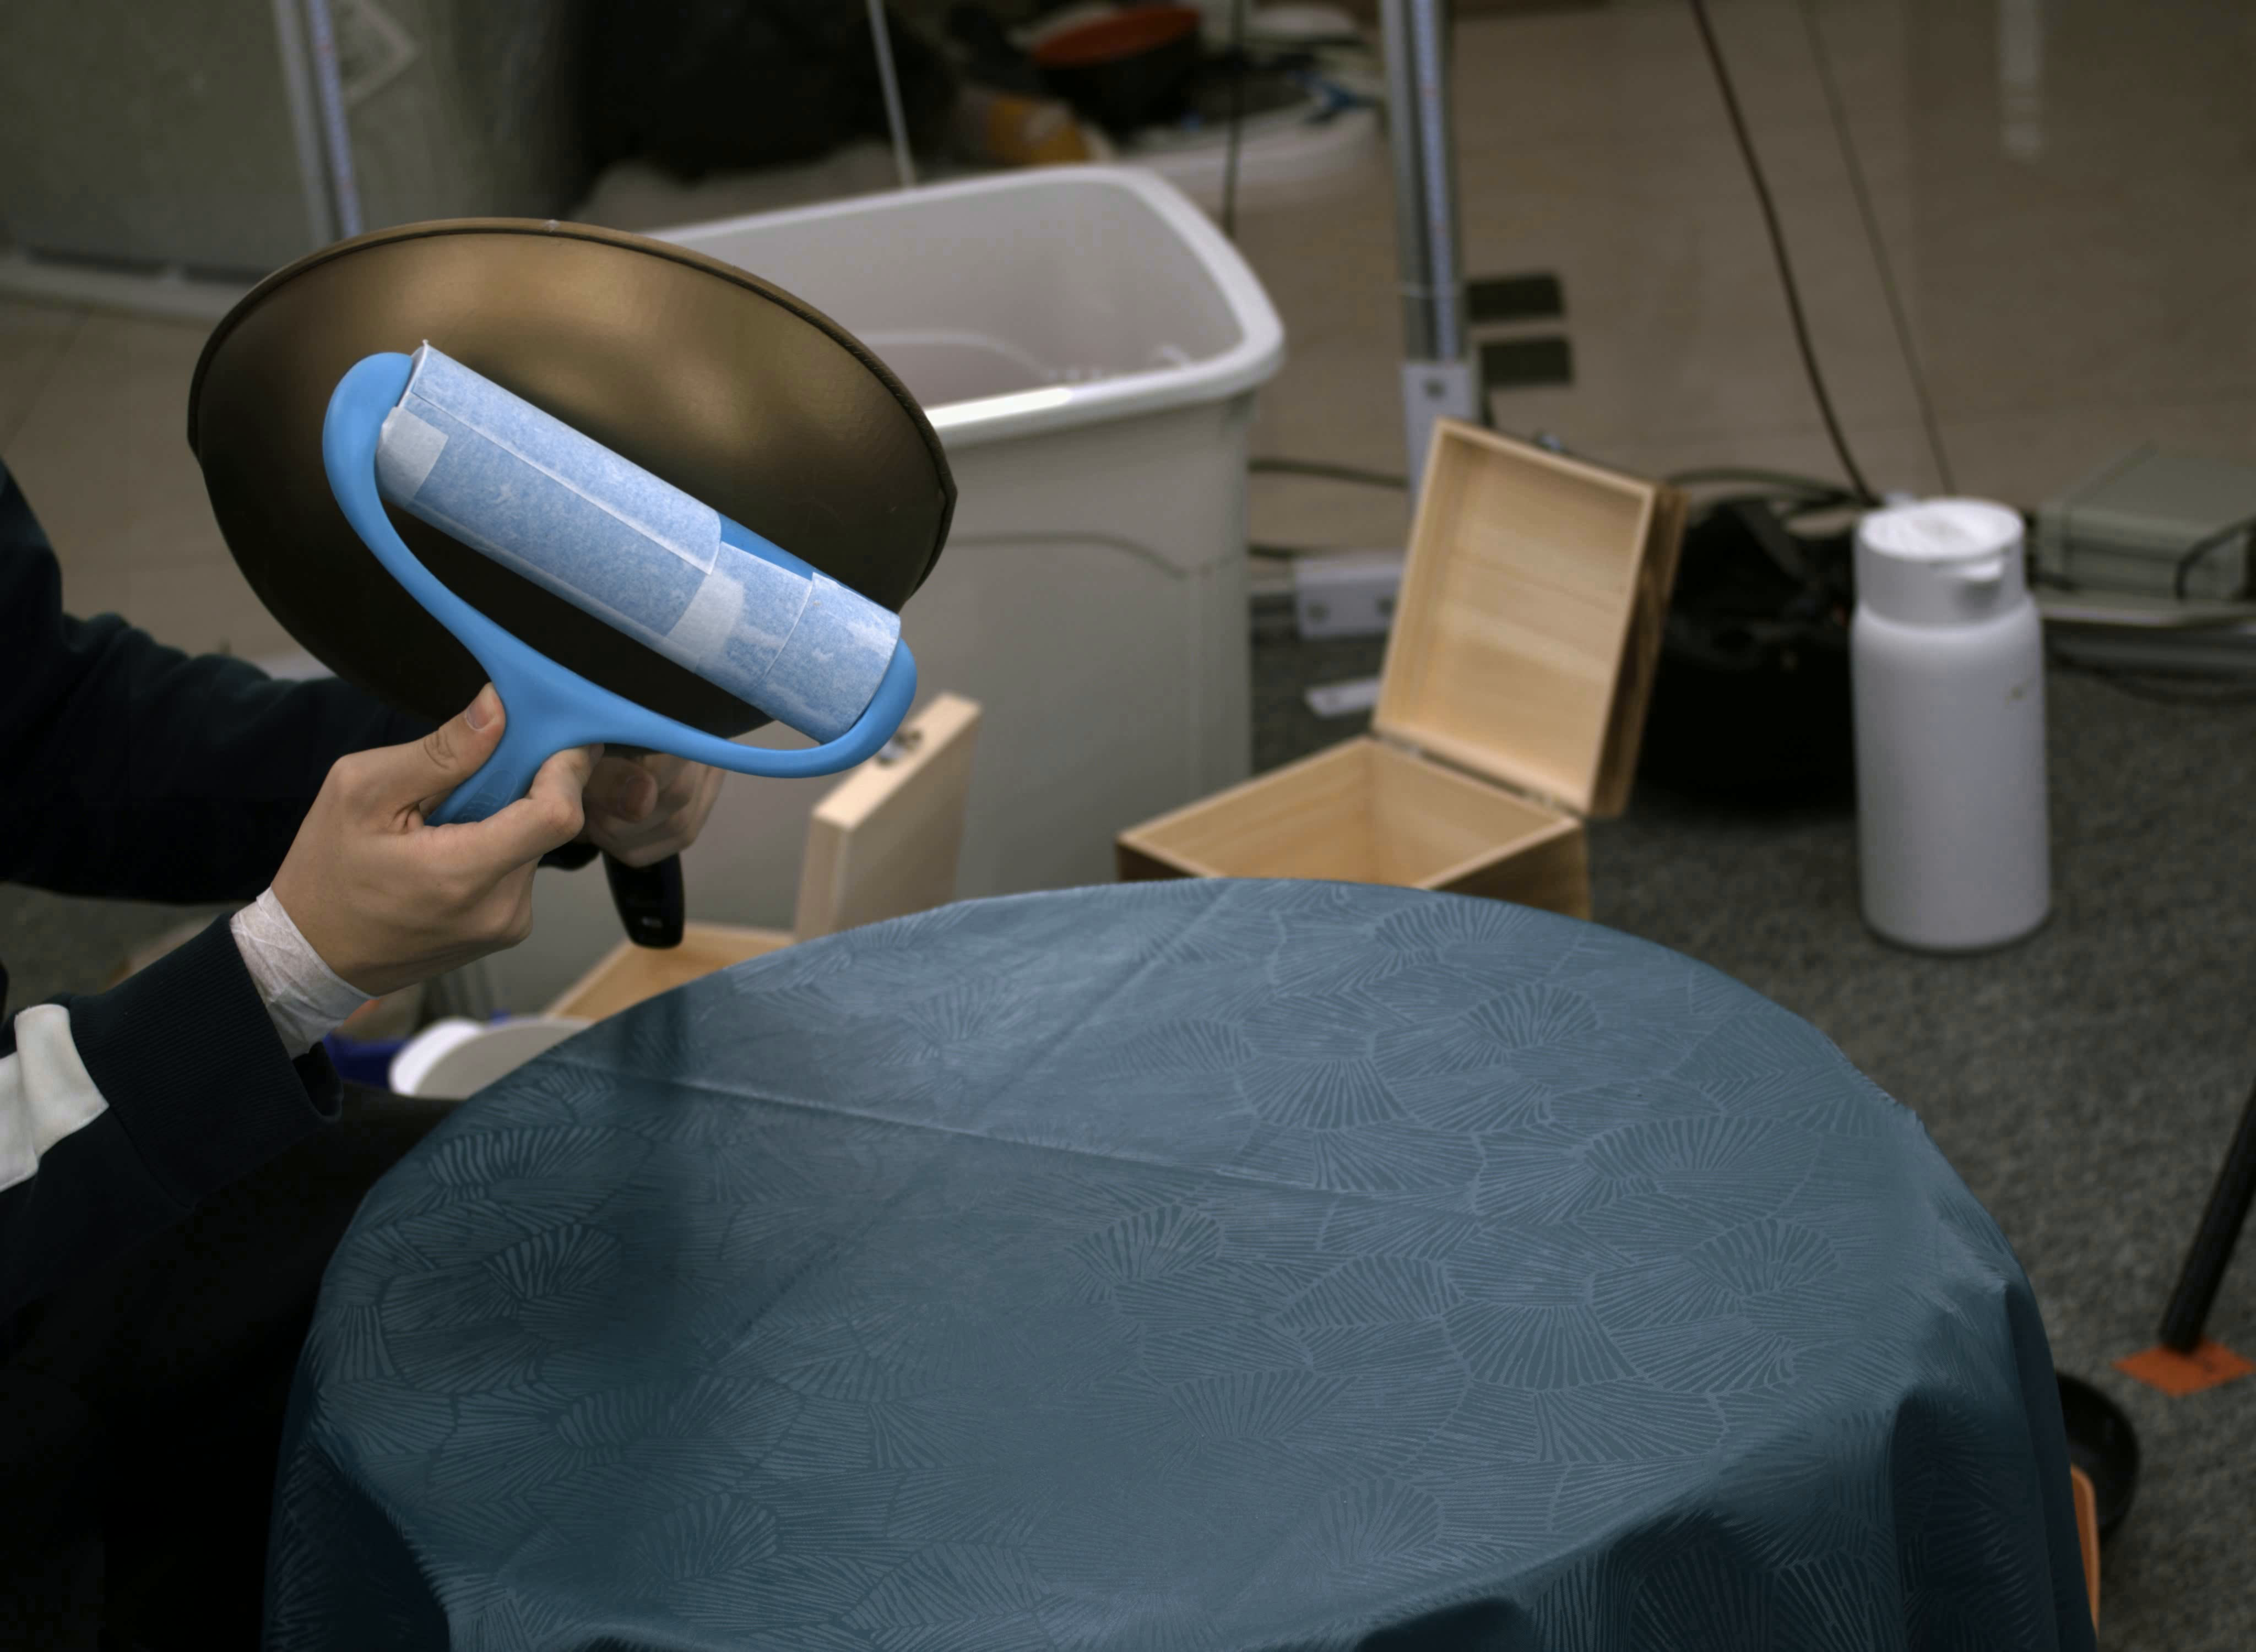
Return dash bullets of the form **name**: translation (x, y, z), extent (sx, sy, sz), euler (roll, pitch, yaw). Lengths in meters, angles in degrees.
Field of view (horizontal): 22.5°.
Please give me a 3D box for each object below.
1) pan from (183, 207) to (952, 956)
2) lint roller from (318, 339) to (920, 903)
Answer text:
- **pan**: translation (-0.207, -0.054, 2.141), extent (0.287, 0.471, 0.085), euler (4, 57, 5)
- **lint roller**: translation (-0.200, -0.047, 1.961), extent (0.230, 0.181, 0.067), euler (25, 7, -18)
